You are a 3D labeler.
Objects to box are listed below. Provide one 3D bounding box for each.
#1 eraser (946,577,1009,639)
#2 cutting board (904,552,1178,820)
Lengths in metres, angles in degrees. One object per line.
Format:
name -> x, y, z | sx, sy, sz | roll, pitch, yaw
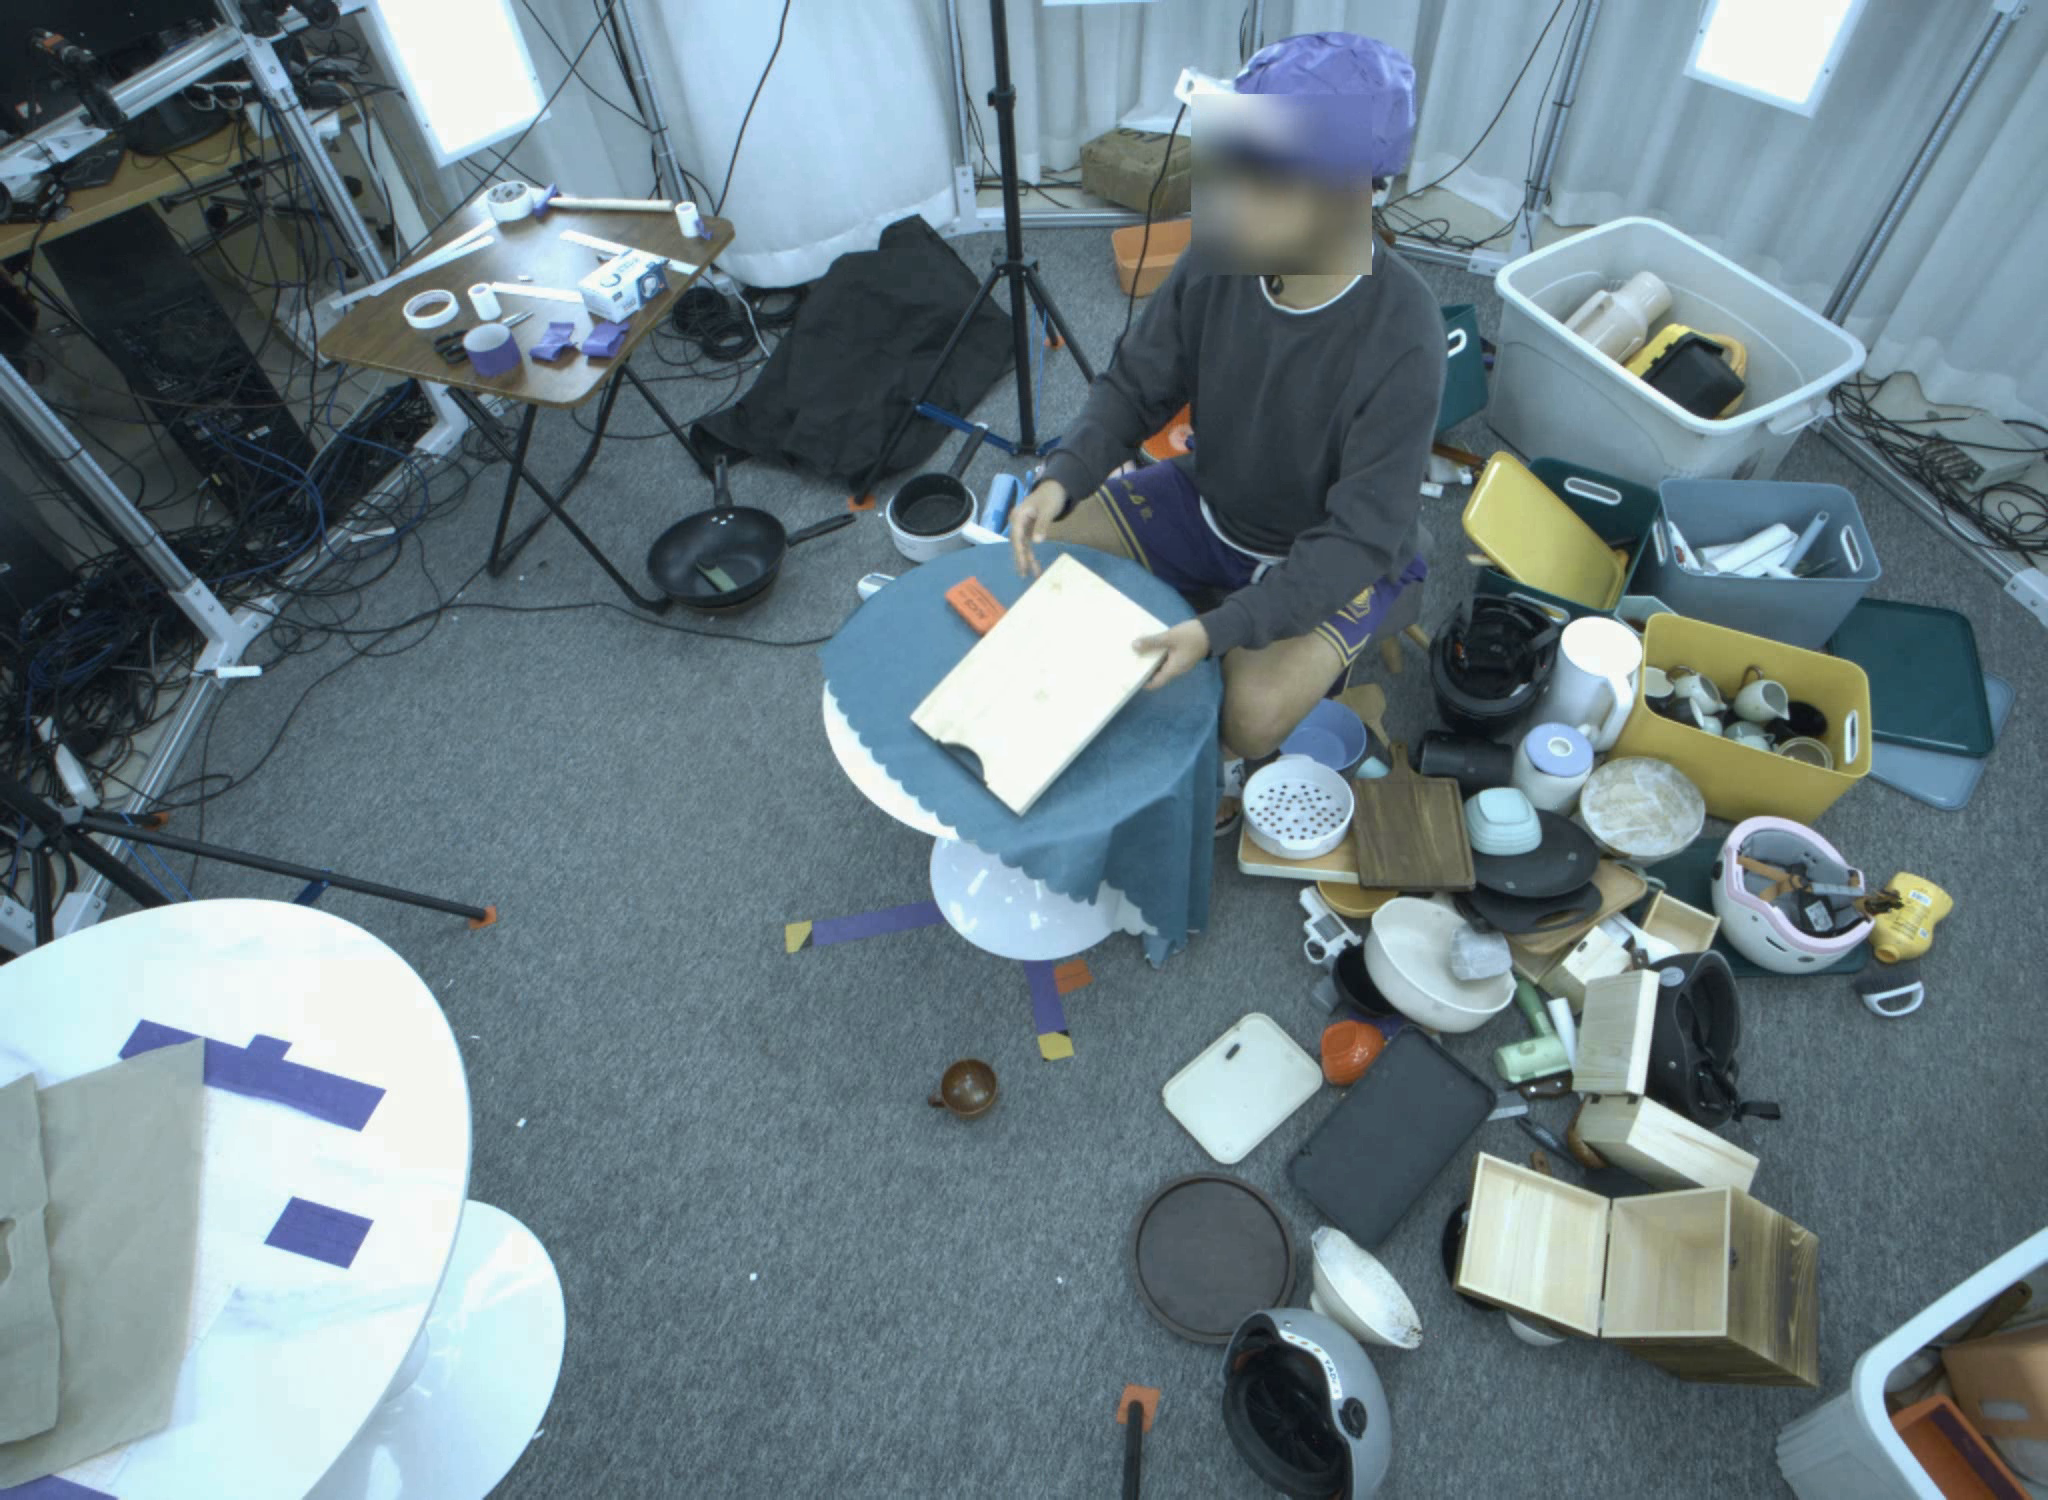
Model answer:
eraser -> -0.074, -0.225, 1.937 | 0.059, 0.023, 0.106 | -31, 60, -18
cutting board -> 0.023, -0.099, 1.781 | 0.246, 0.024, 0.349 | 39, 85, 26
